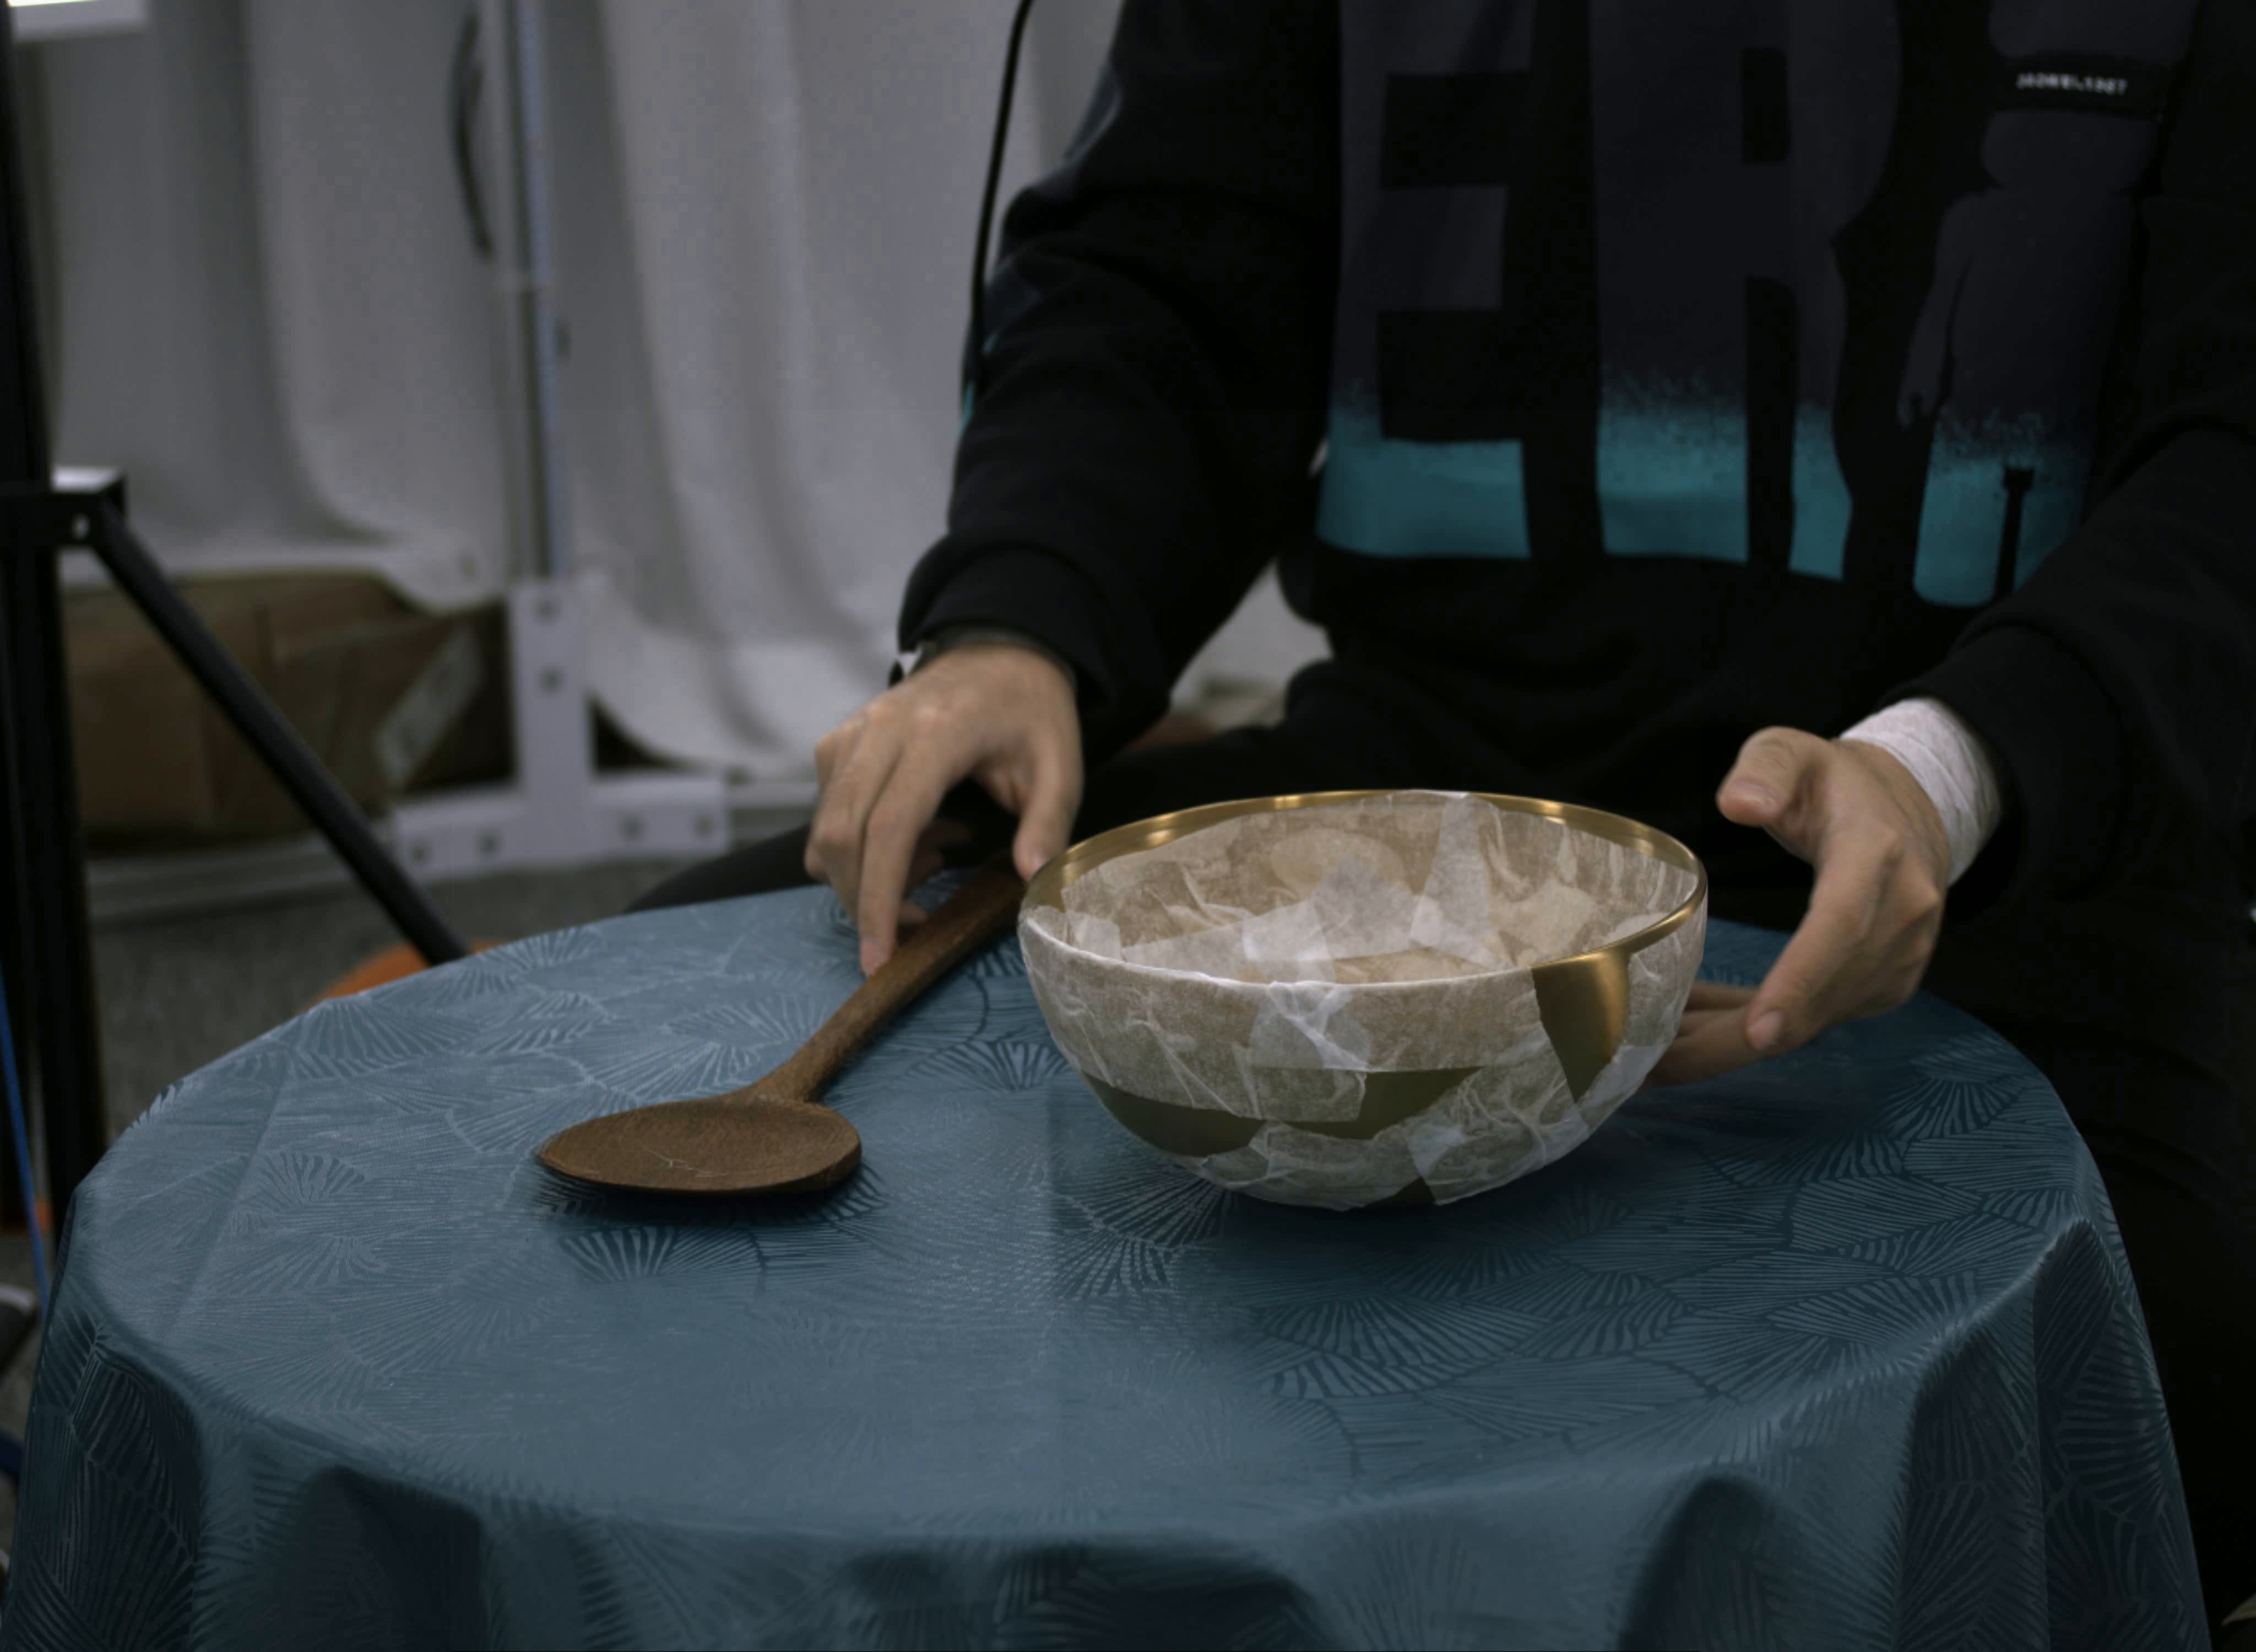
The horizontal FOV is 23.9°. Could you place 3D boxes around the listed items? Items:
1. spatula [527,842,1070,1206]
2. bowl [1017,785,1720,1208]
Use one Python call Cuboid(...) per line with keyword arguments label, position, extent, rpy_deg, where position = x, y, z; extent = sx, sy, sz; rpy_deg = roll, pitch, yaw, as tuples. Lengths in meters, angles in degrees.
Cuboid(label="spatula", position=(-0.083, 0.058, 1.723), extent=(0.097, 0.016, 0.382), rpy_deg=(3, 16, 17))
Cuboid(label="bowl", position=(0.073, 0.057, 1.551), extent=(0.213, 0.094, 0.216), rpy_deg=(-4, 15, 0))
